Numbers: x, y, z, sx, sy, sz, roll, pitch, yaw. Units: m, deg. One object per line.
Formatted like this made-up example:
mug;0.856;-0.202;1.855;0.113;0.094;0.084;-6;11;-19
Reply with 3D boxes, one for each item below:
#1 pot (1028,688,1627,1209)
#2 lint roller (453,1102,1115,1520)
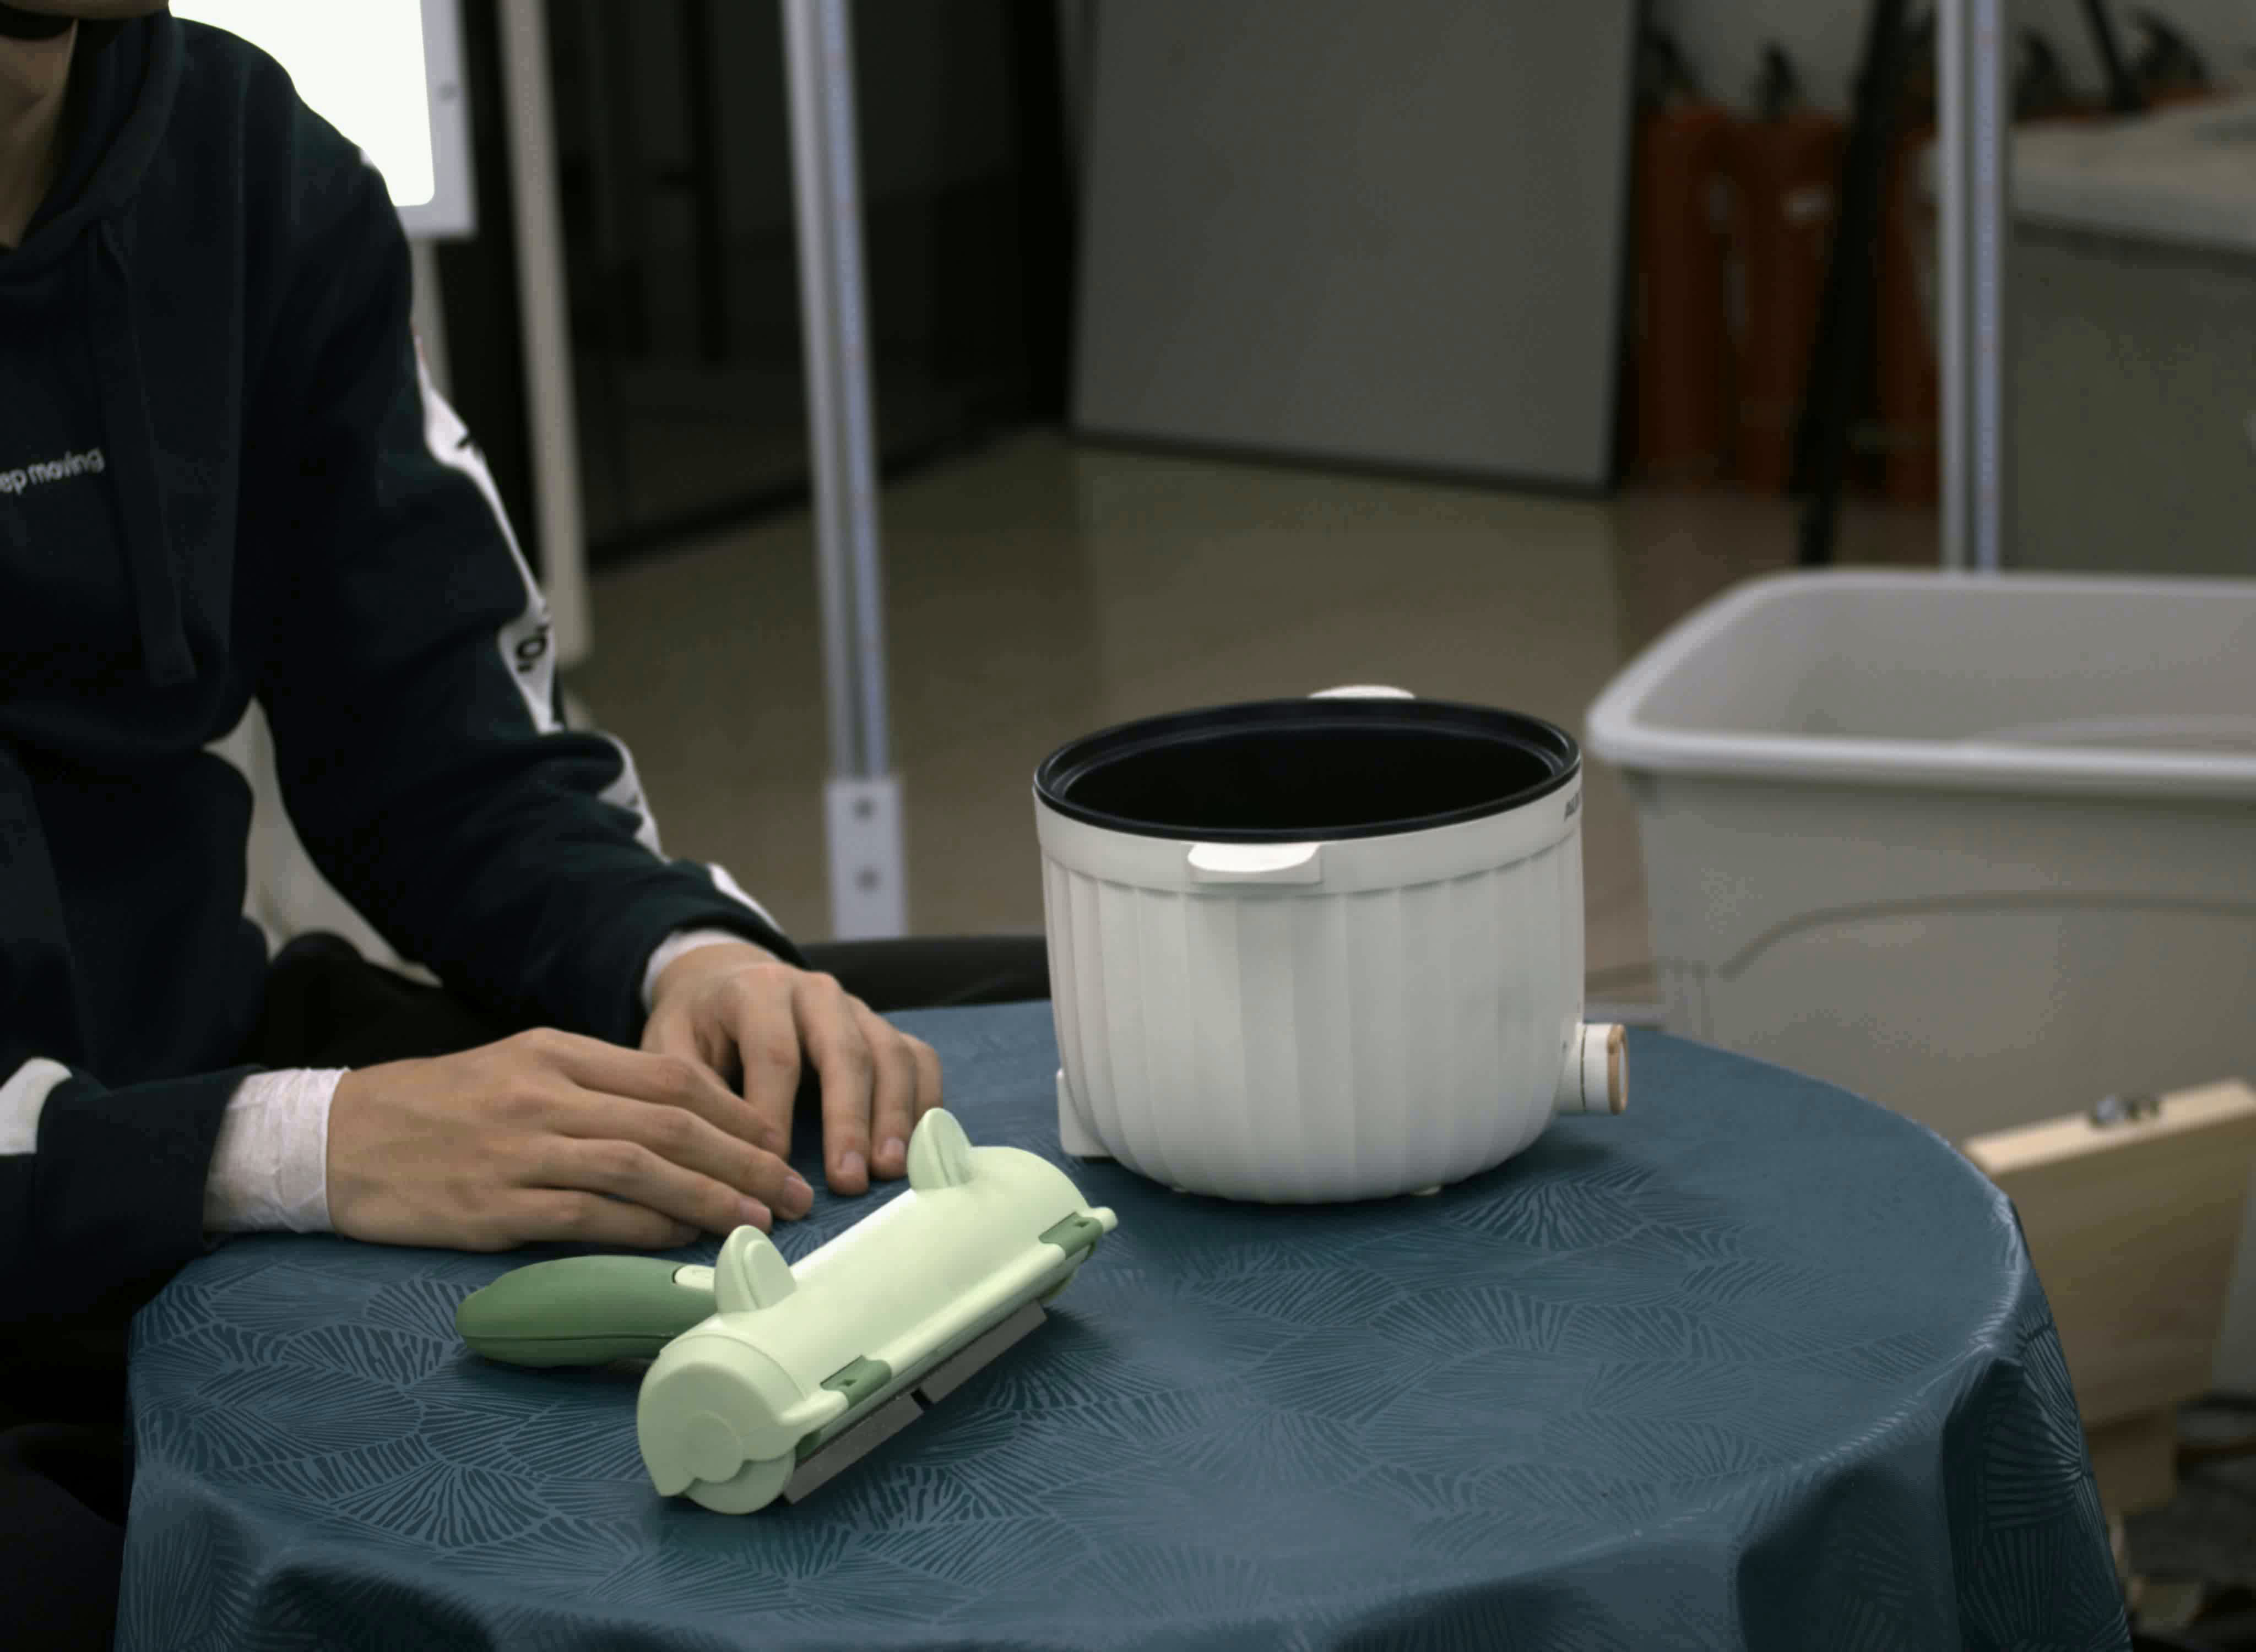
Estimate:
pot;0.067;0.042;1.781;0.189;0.144;0.239;-4;14;13
lint roller;-0.124;0.131;1.608;0.184;0.083;0.196;9;18;26
